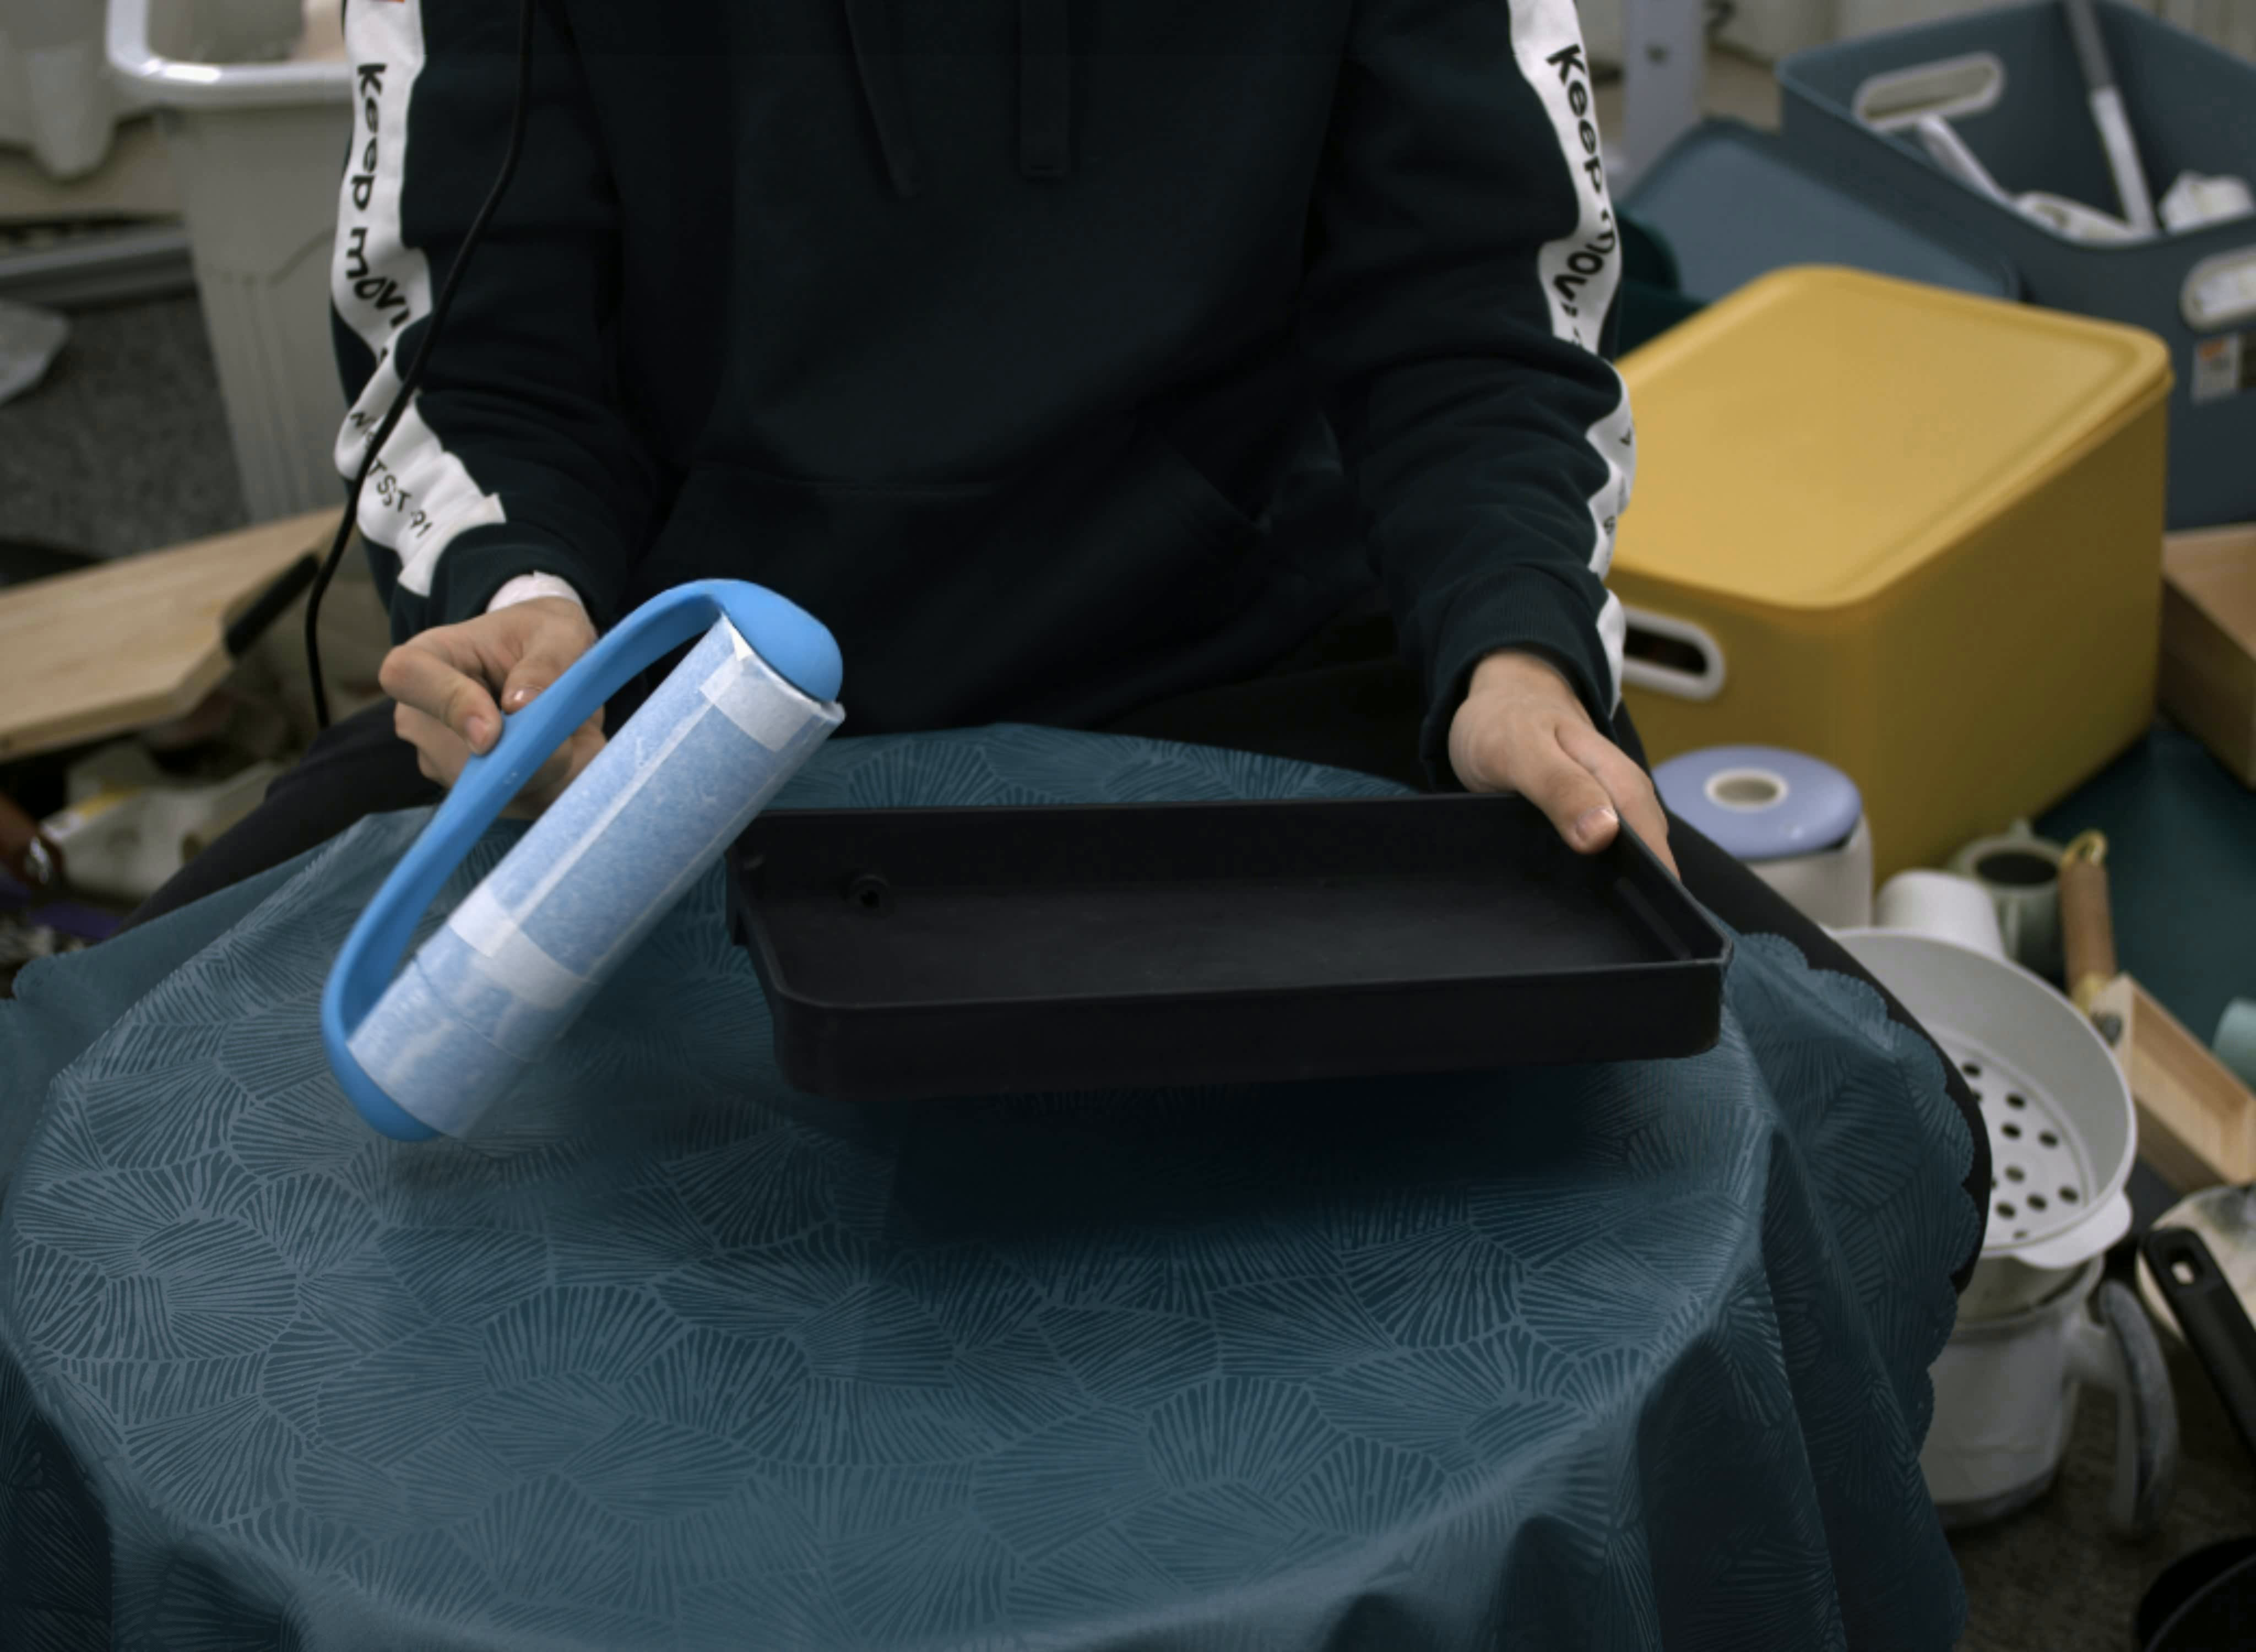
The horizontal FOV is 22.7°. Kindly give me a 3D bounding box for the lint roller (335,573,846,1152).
[{"bbox_3d":[-0.194,-0.007,1.915,0.067,0.228,0.181,36,6,-29],"label":"lint roller"}]

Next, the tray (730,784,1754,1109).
[{"bbox_3d":[0.034,0.037,1.877,0.318,0.037,0.185,-3,19,-13],"label":"tray"}]
